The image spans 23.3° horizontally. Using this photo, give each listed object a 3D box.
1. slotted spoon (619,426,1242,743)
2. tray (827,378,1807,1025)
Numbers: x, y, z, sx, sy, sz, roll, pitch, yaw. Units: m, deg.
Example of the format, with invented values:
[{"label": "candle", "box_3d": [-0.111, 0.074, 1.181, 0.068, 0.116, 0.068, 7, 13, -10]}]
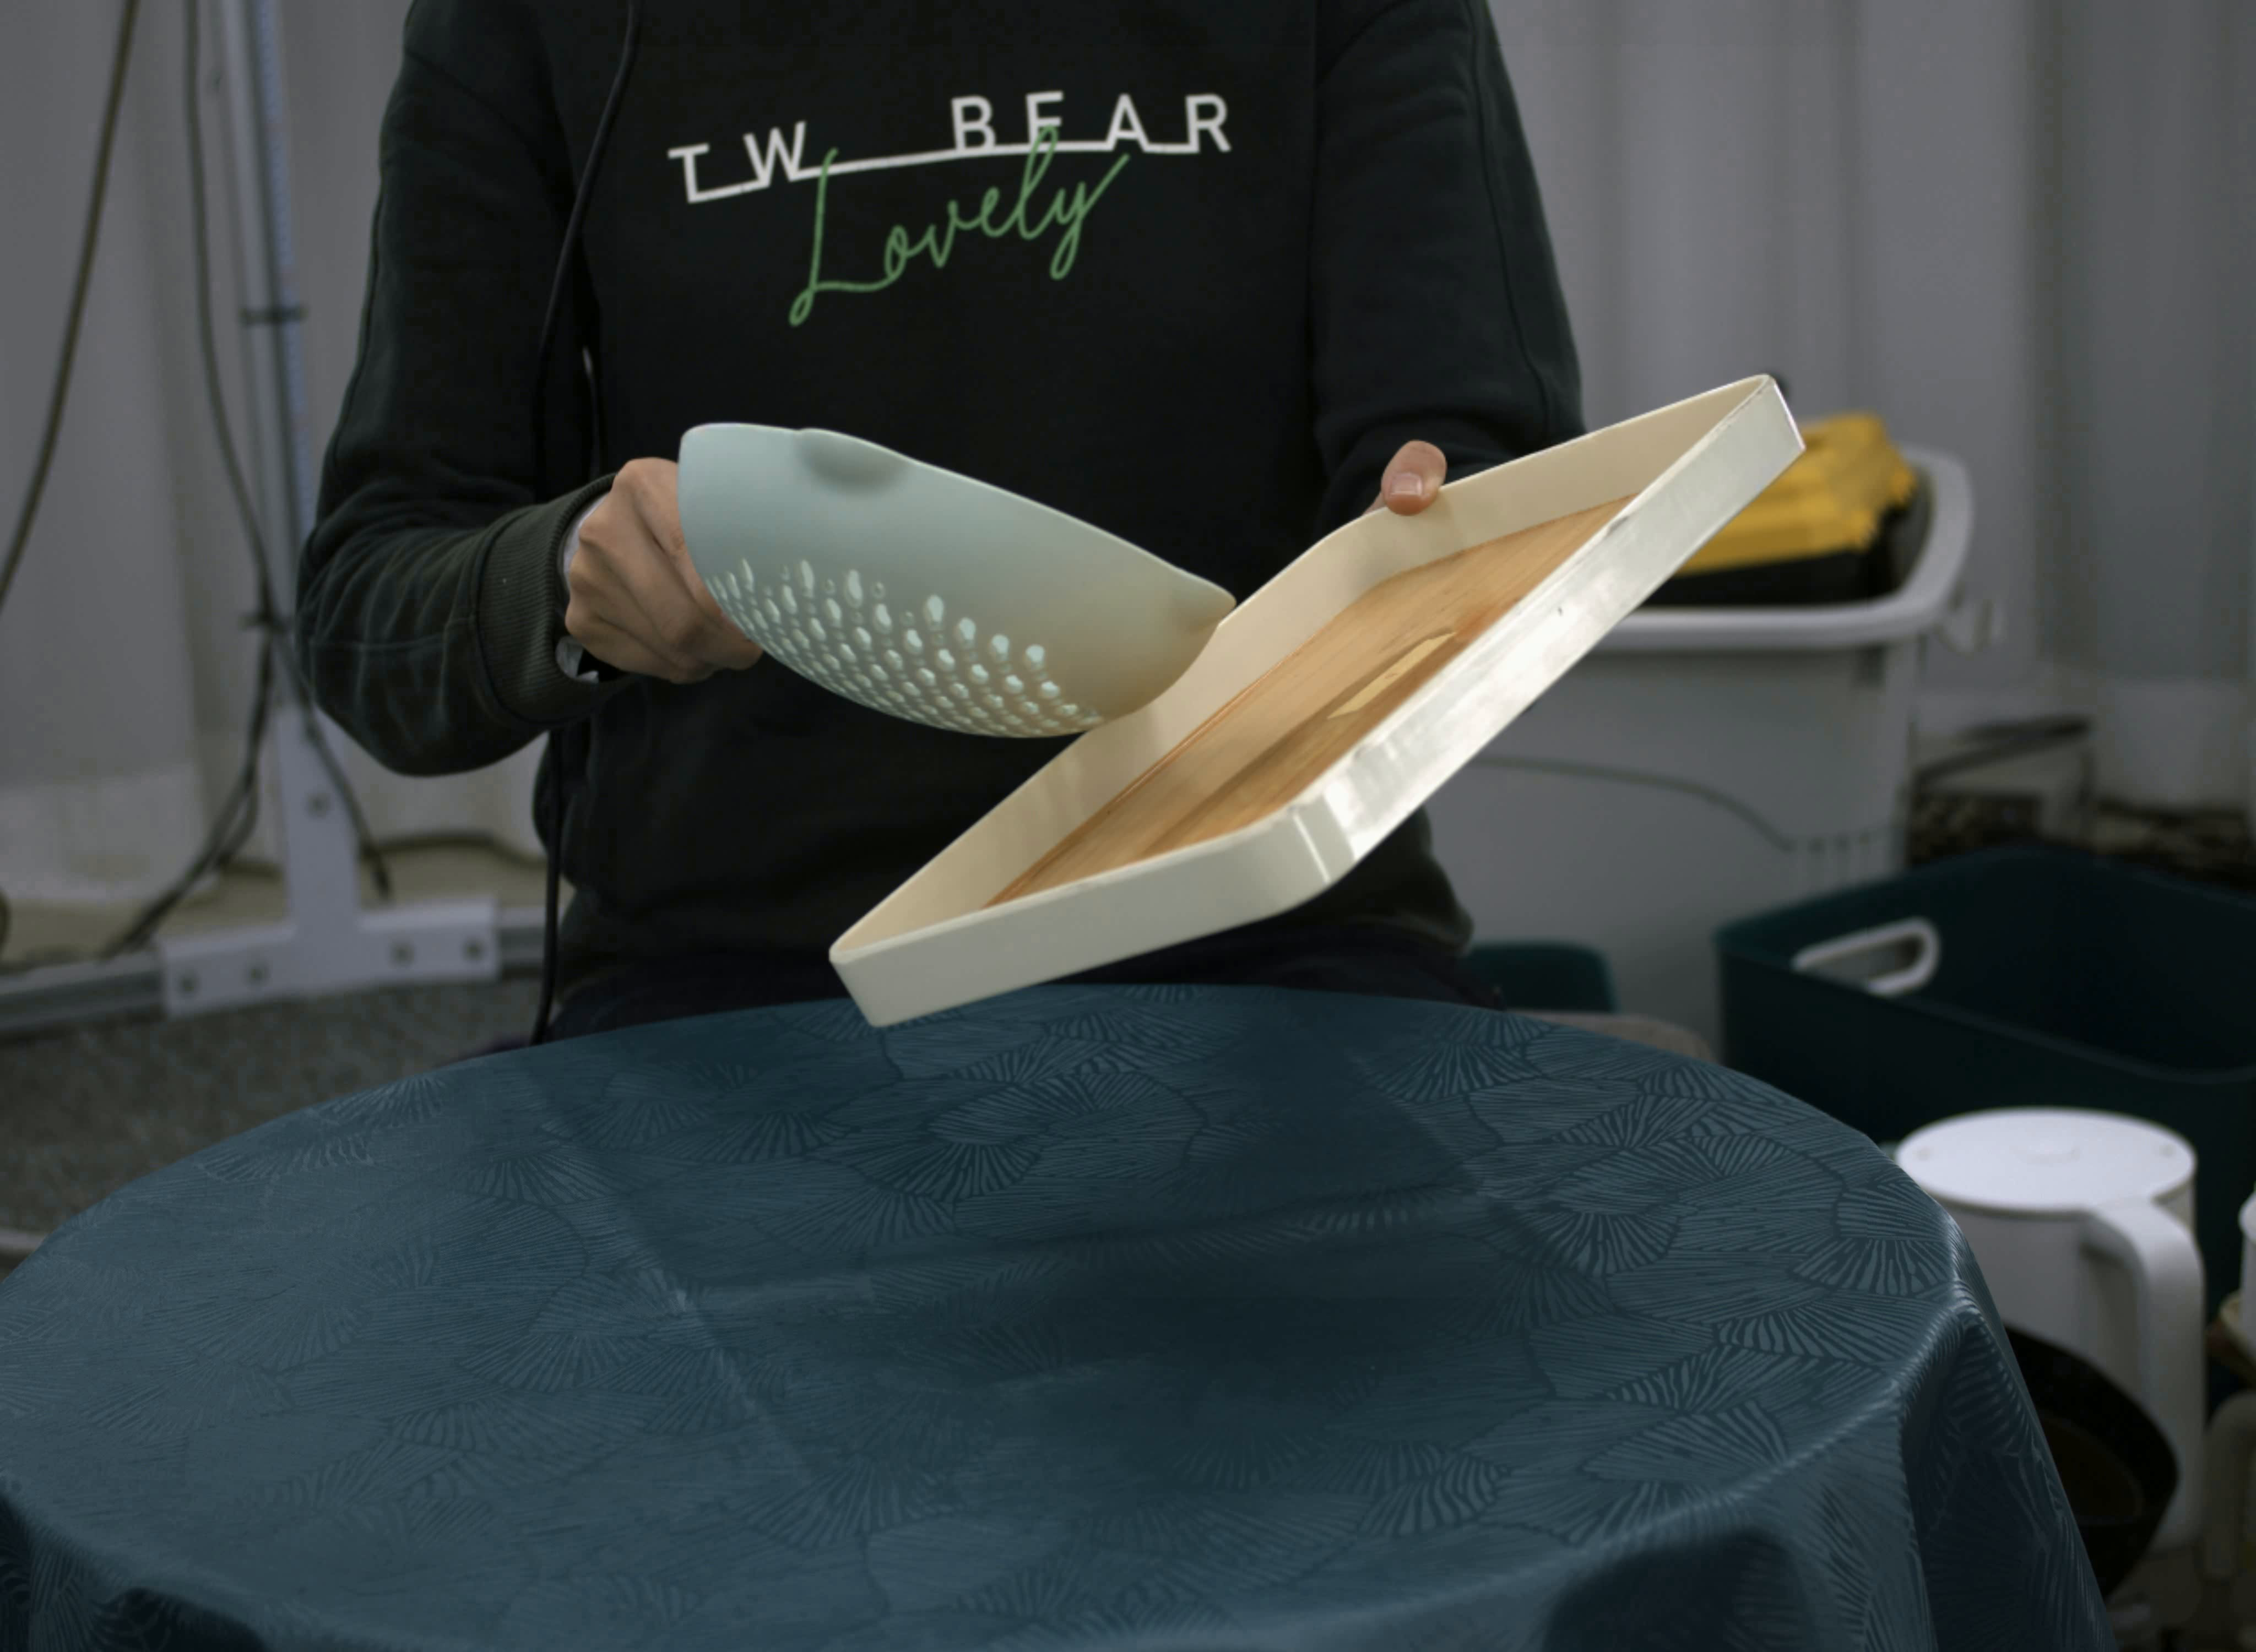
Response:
[{"label": "slotted spoon", "box_3d": [-0.094, -0.075, 1.713, 0.168, 0.075, 0.361, 23, -2, -22]}, {"label": "tray", "box_3d": [0.059, -0.038, 1.606, 0.191, 0.027, 0.302, -17, 16, 43]}]
